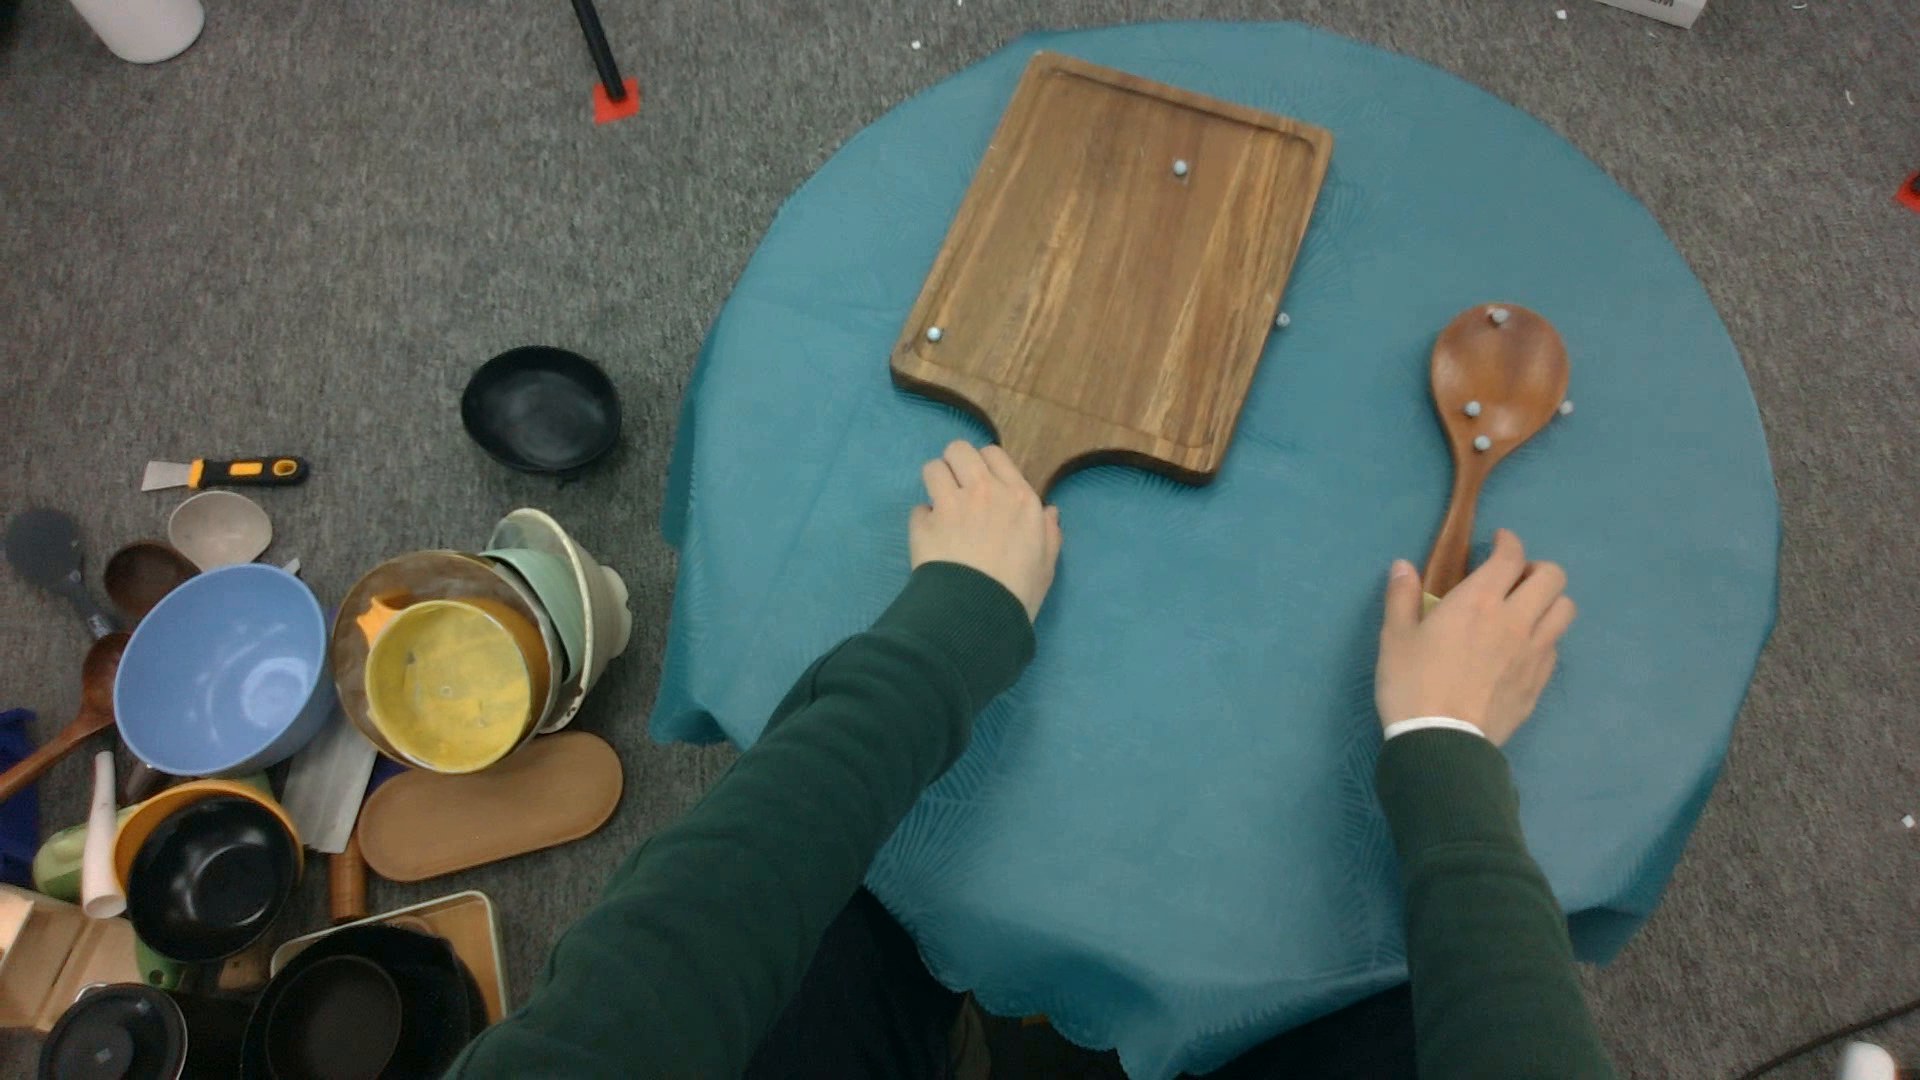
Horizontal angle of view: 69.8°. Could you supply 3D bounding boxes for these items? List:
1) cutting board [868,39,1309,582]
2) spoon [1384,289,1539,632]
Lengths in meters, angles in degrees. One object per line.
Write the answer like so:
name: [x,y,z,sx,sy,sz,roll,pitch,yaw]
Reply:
cutting board: [0.063,-0.134,0.793,0.201,0.023,0.353,19,68,8]
spoon: [0.266,-0.047,0.753,0.075,0.017,0.216,19,67,7]
